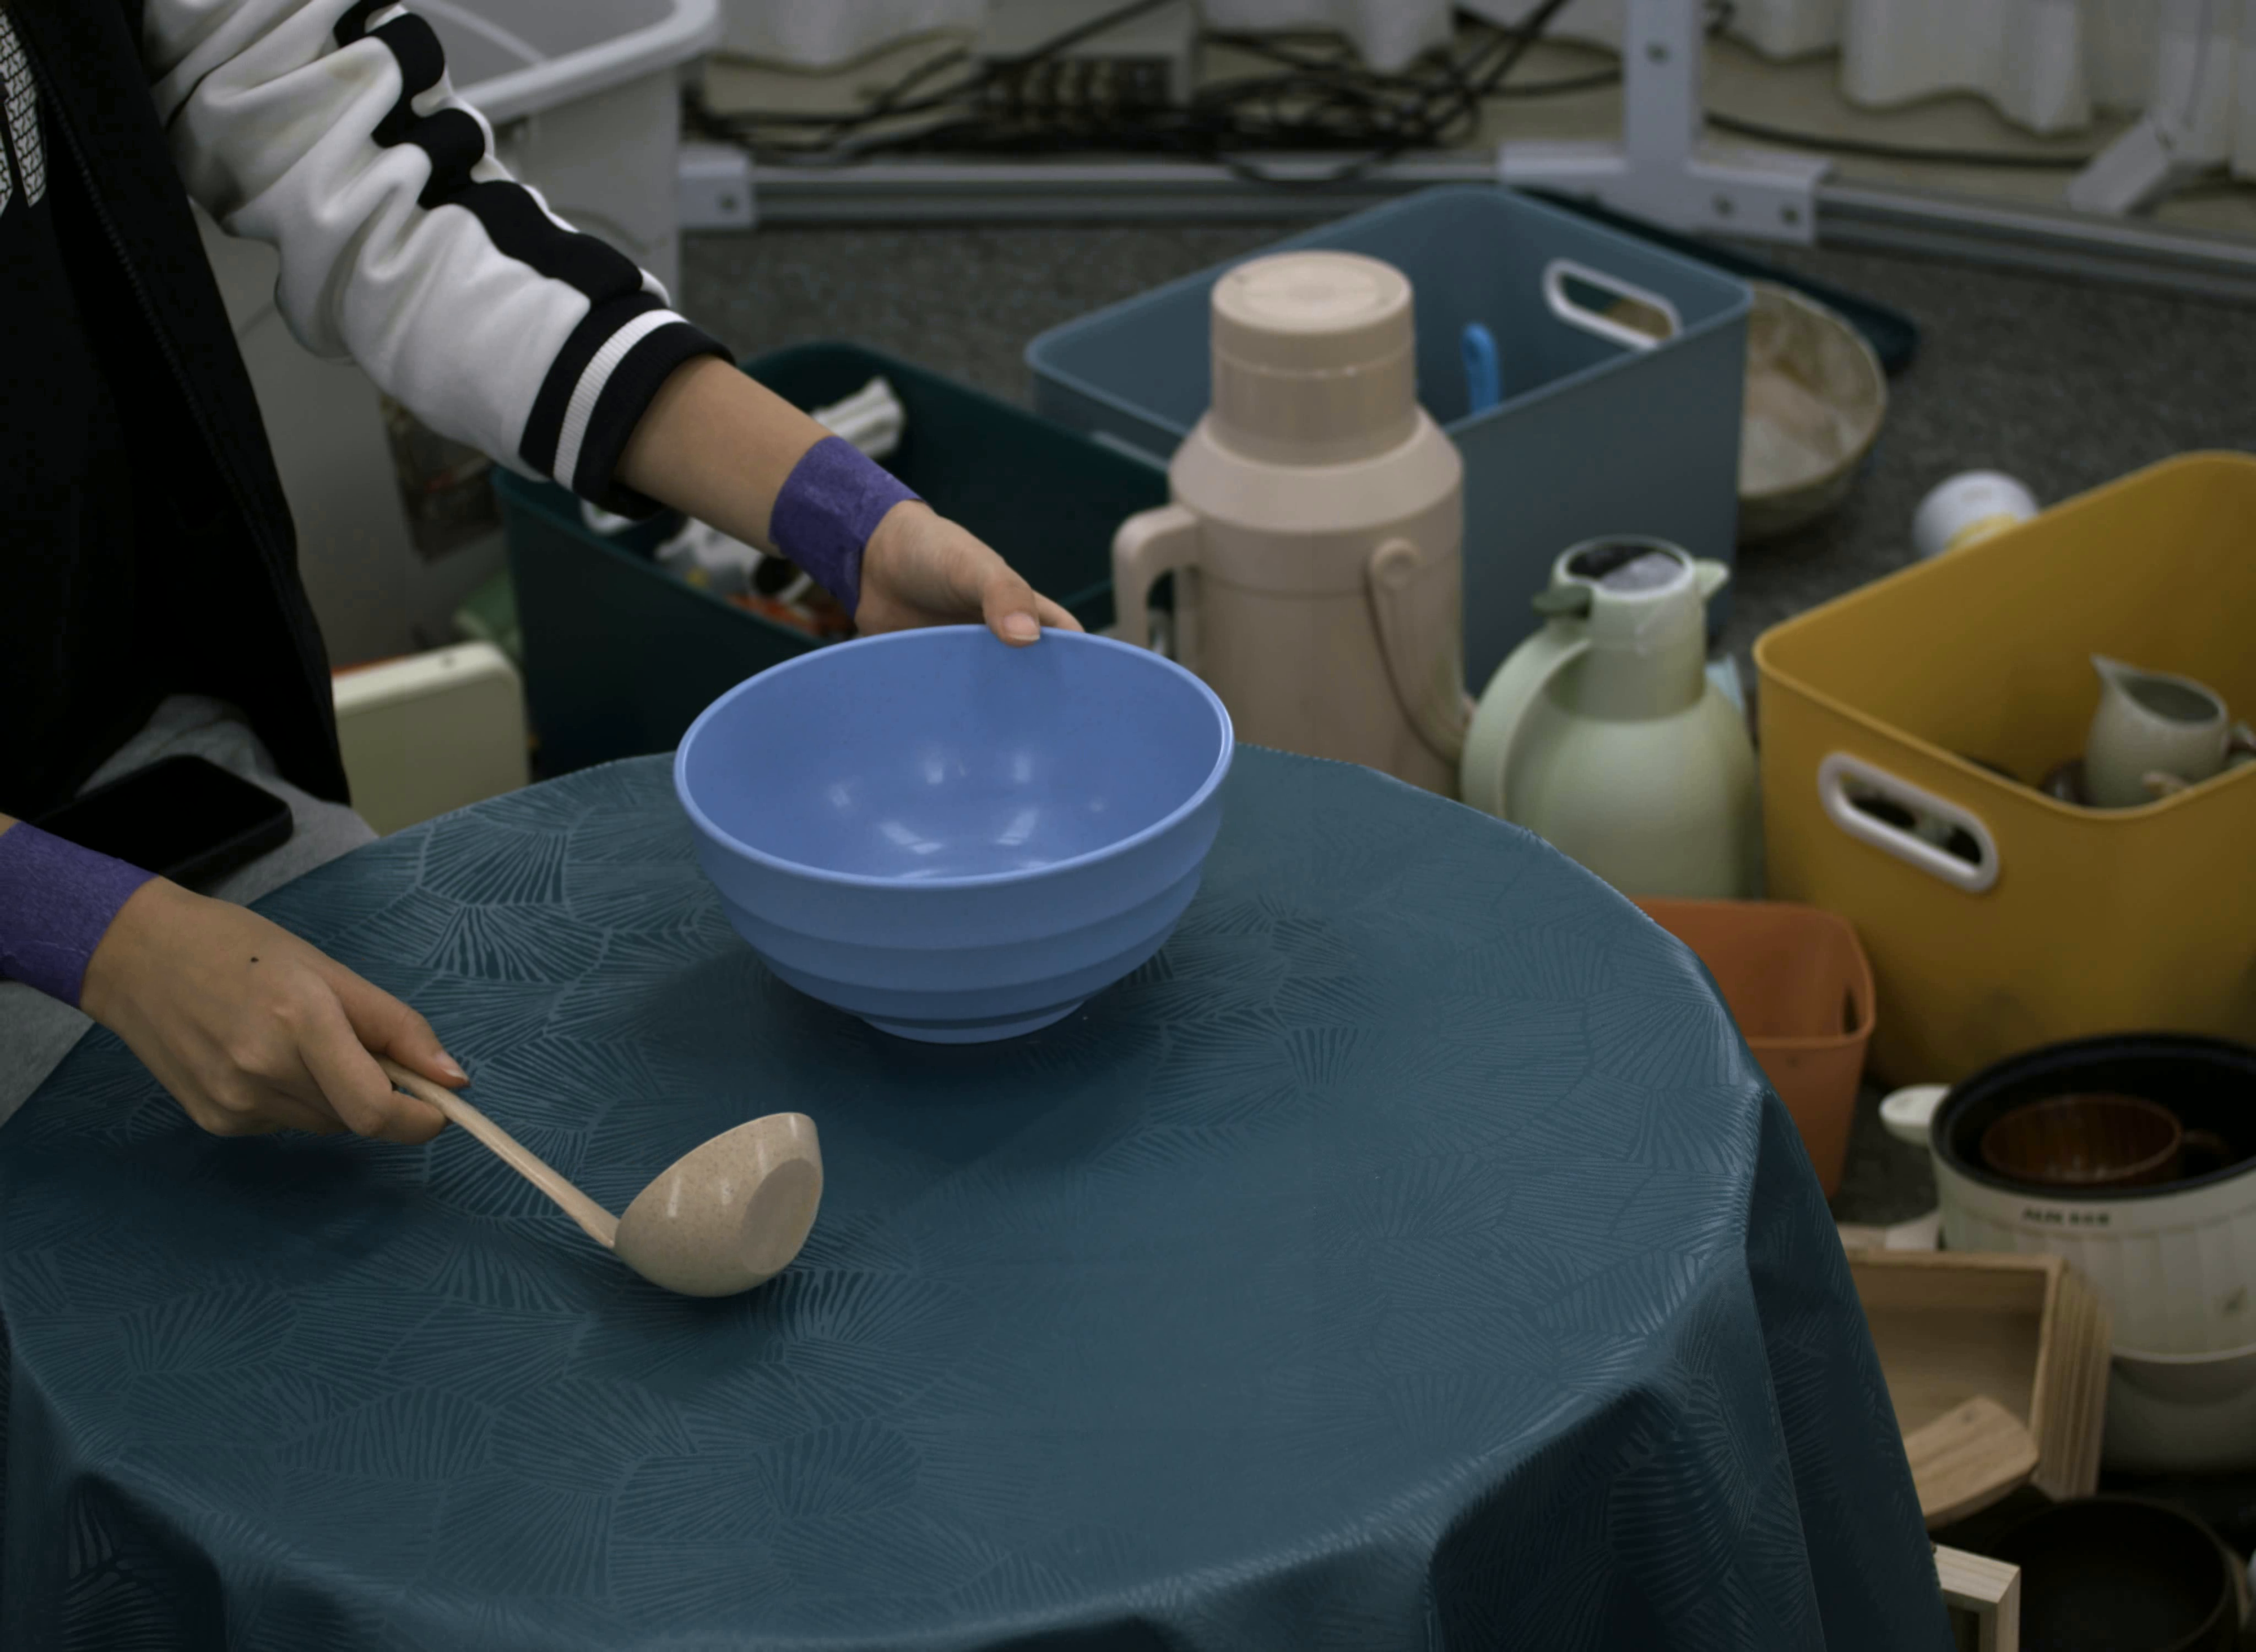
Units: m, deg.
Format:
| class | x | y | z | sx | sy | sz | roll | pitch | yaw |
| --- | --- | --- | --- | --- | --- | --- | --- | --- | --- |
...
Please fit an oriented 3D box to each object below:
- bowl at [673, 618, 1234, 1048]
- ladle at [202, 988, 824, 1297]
| class | x | y | z | sx | sy | sz | roll | pitch | yaw |
| --- | --- | --- | --- | --- | --- | --- | --- | --- | --- |
| bowl | -0.058 | 0.015 | 1.975 | 0.195 | 0.094 | 0.199 | -3 | 29 | 2 |
| ladle | -0.206 | 0.077 | 1.855 | 0.254 | 0.072 | 0.072 | 28 | 13 | 30 |
